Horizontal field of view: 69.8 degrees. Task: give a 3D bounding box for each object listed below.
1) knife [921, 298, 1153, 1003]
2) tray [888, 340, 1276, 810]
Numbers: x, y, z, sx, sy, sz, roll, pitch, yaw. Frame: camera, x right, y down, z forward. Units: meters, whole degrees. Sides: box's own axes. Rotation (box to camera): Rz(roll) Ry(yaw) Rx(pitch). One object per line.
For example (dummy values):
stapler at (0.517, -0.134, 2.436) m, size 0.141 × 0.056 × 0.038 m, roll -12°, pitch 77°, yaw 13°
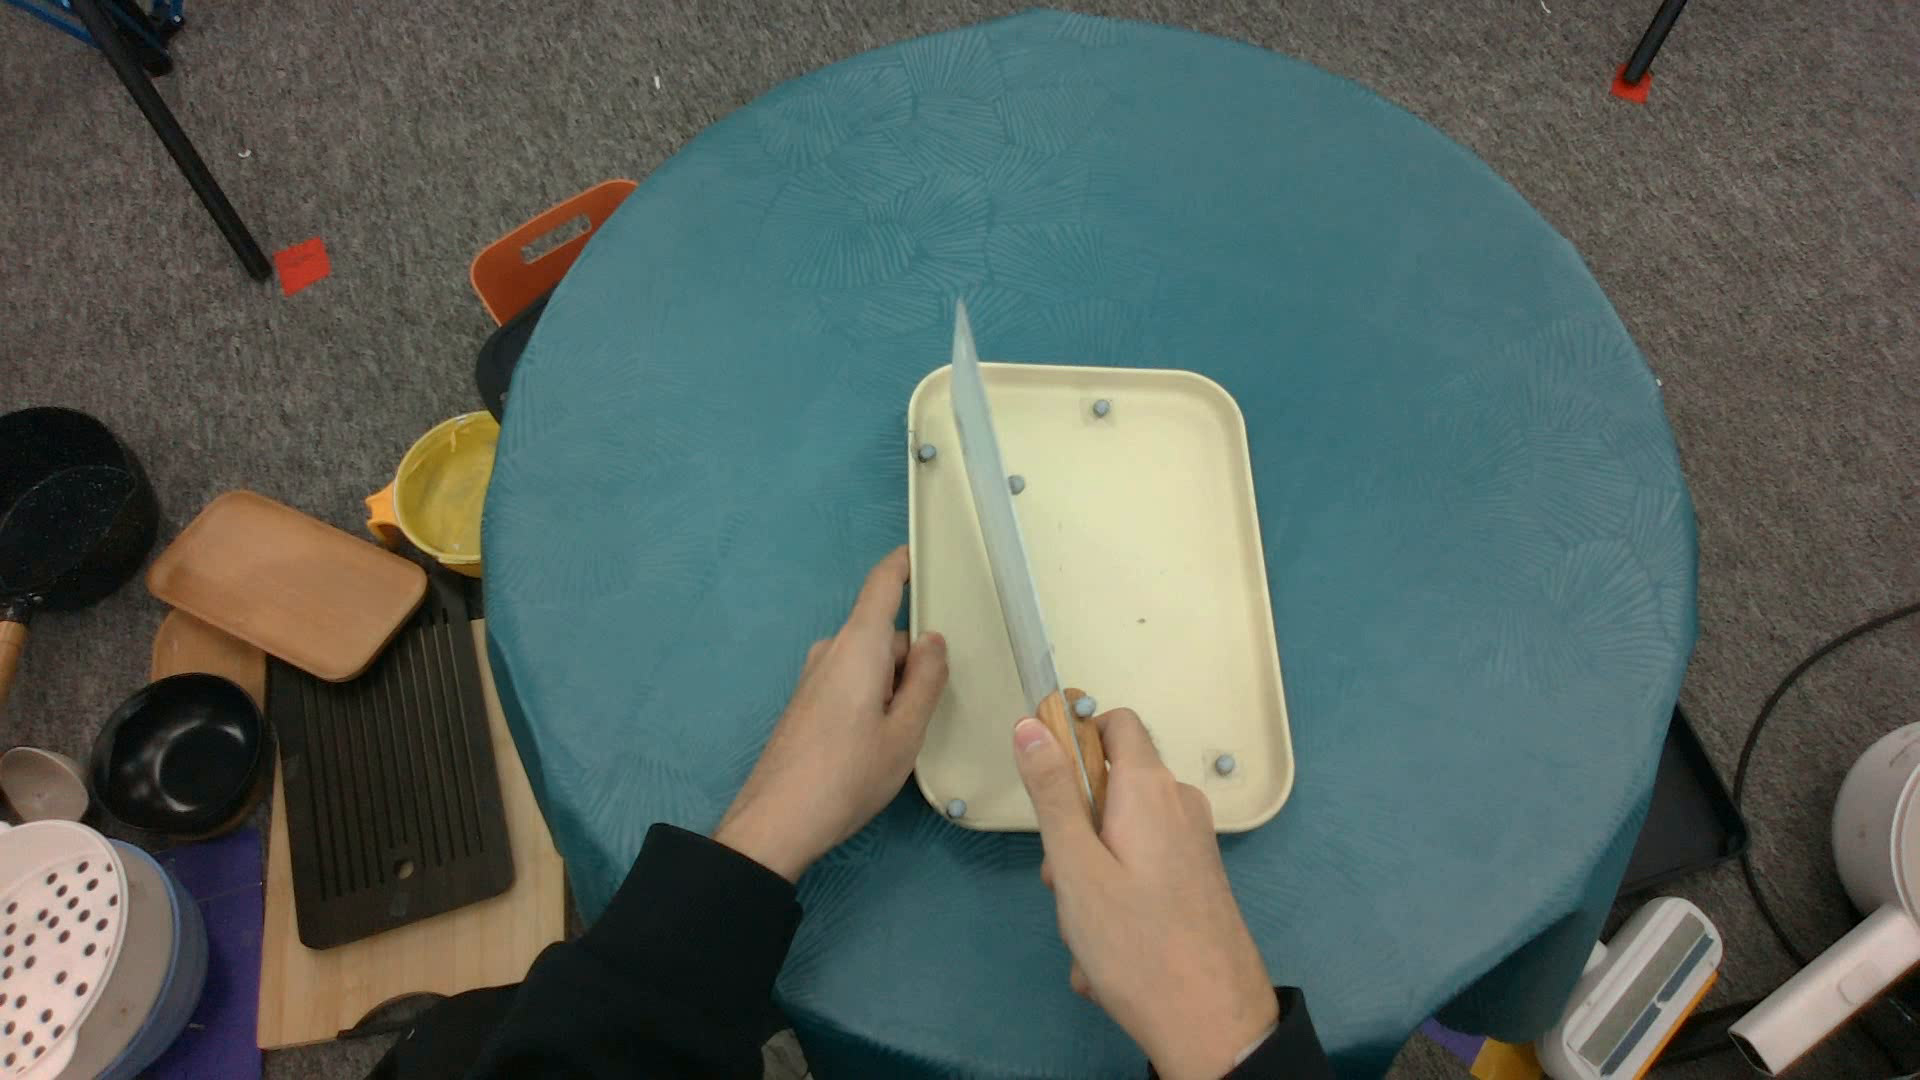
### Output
knife at (0.022, 0.042, 0.580) m, size 0.021 × 0.092 × 0.306 m, roll -13°, pitch 66°, yaw -7°
tray at (0.052, 0.011, 0.647) m, size 0.171 × 0.017 × 0.240 m, roll 2°, pitch 63°, yaw -8°
